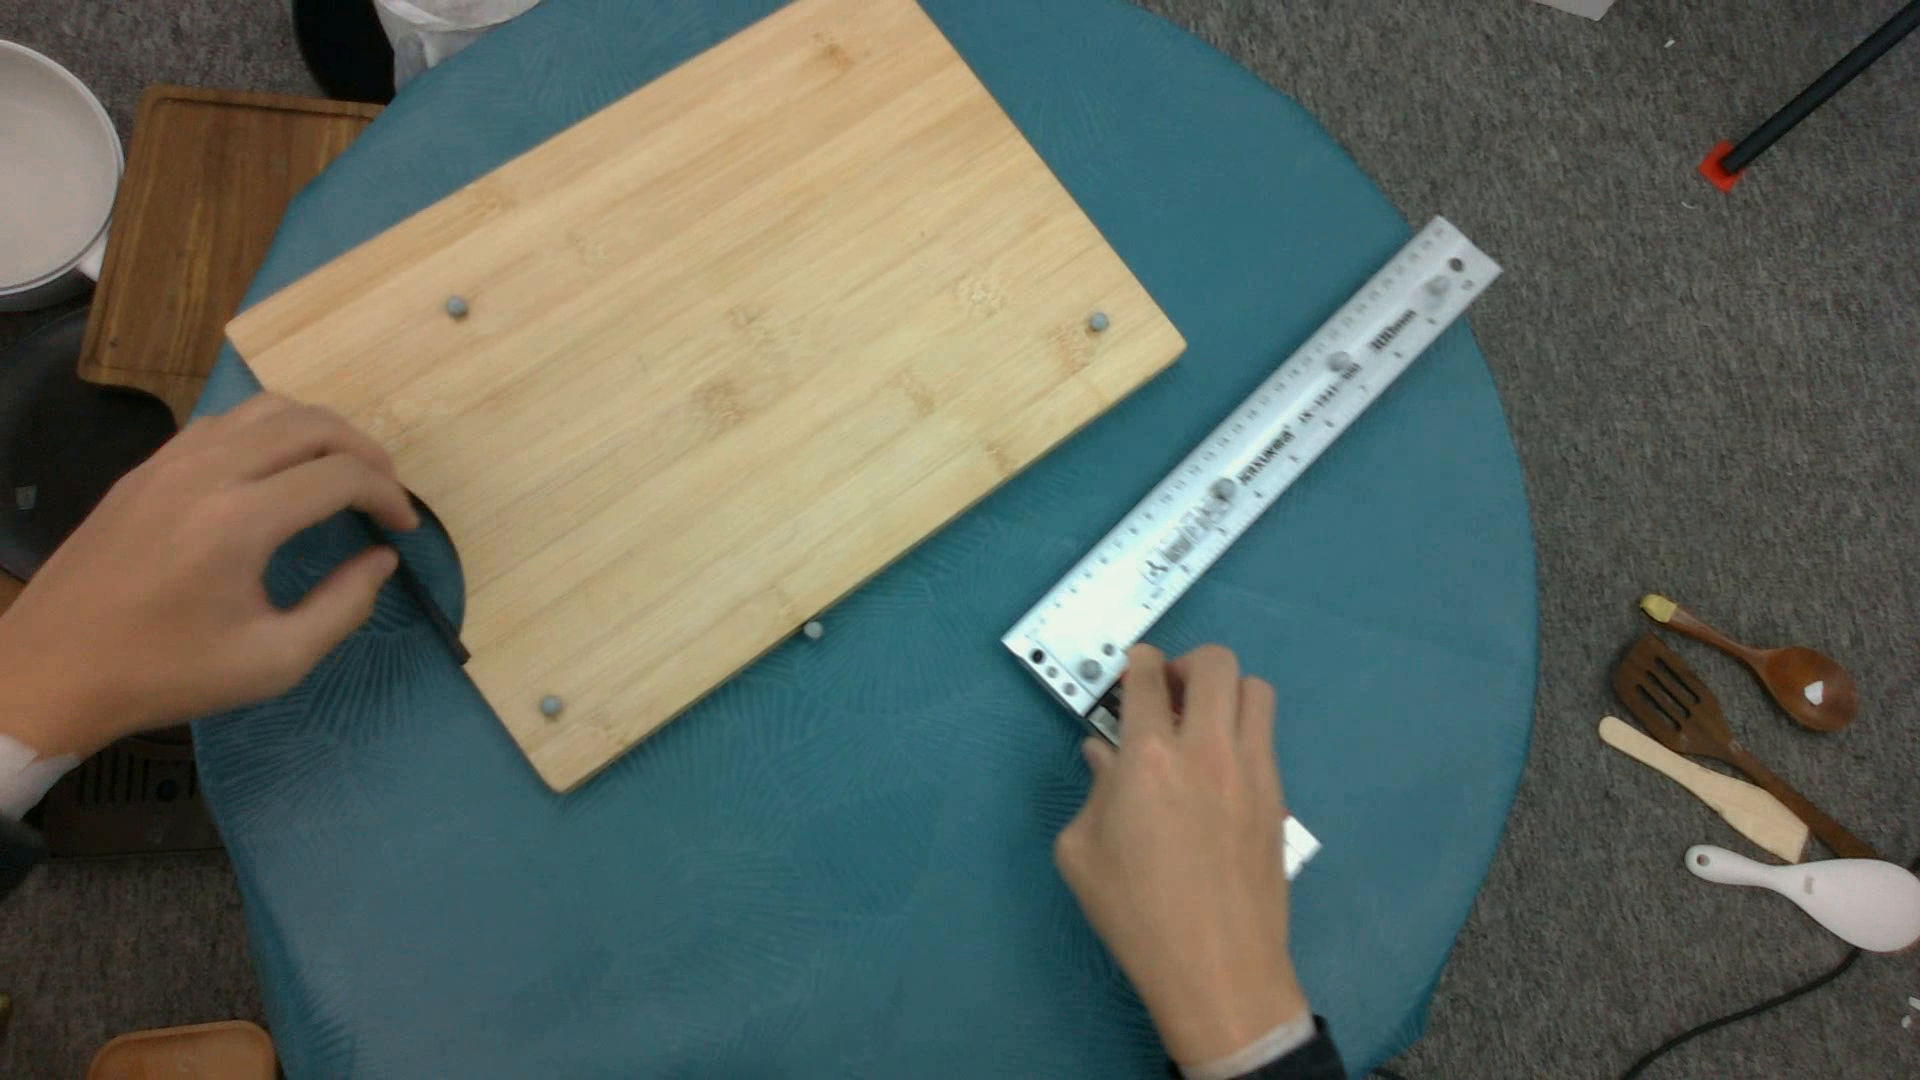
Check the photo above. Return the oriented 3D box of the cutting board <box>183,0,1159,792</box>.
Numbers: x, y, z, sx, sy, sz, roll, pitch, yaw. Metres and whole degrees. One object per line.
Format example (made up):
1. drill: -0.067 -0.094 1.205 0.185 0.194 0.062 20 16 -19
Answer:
1. cutting board: -0.112 -0.090 0.608 0.349 0.023 0.251 -37 84 -16

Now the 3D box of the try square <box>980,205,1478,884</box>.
1. try square: 0.168 -0.010 0.625 0.314 0.016 0.152 -43 83 -16
